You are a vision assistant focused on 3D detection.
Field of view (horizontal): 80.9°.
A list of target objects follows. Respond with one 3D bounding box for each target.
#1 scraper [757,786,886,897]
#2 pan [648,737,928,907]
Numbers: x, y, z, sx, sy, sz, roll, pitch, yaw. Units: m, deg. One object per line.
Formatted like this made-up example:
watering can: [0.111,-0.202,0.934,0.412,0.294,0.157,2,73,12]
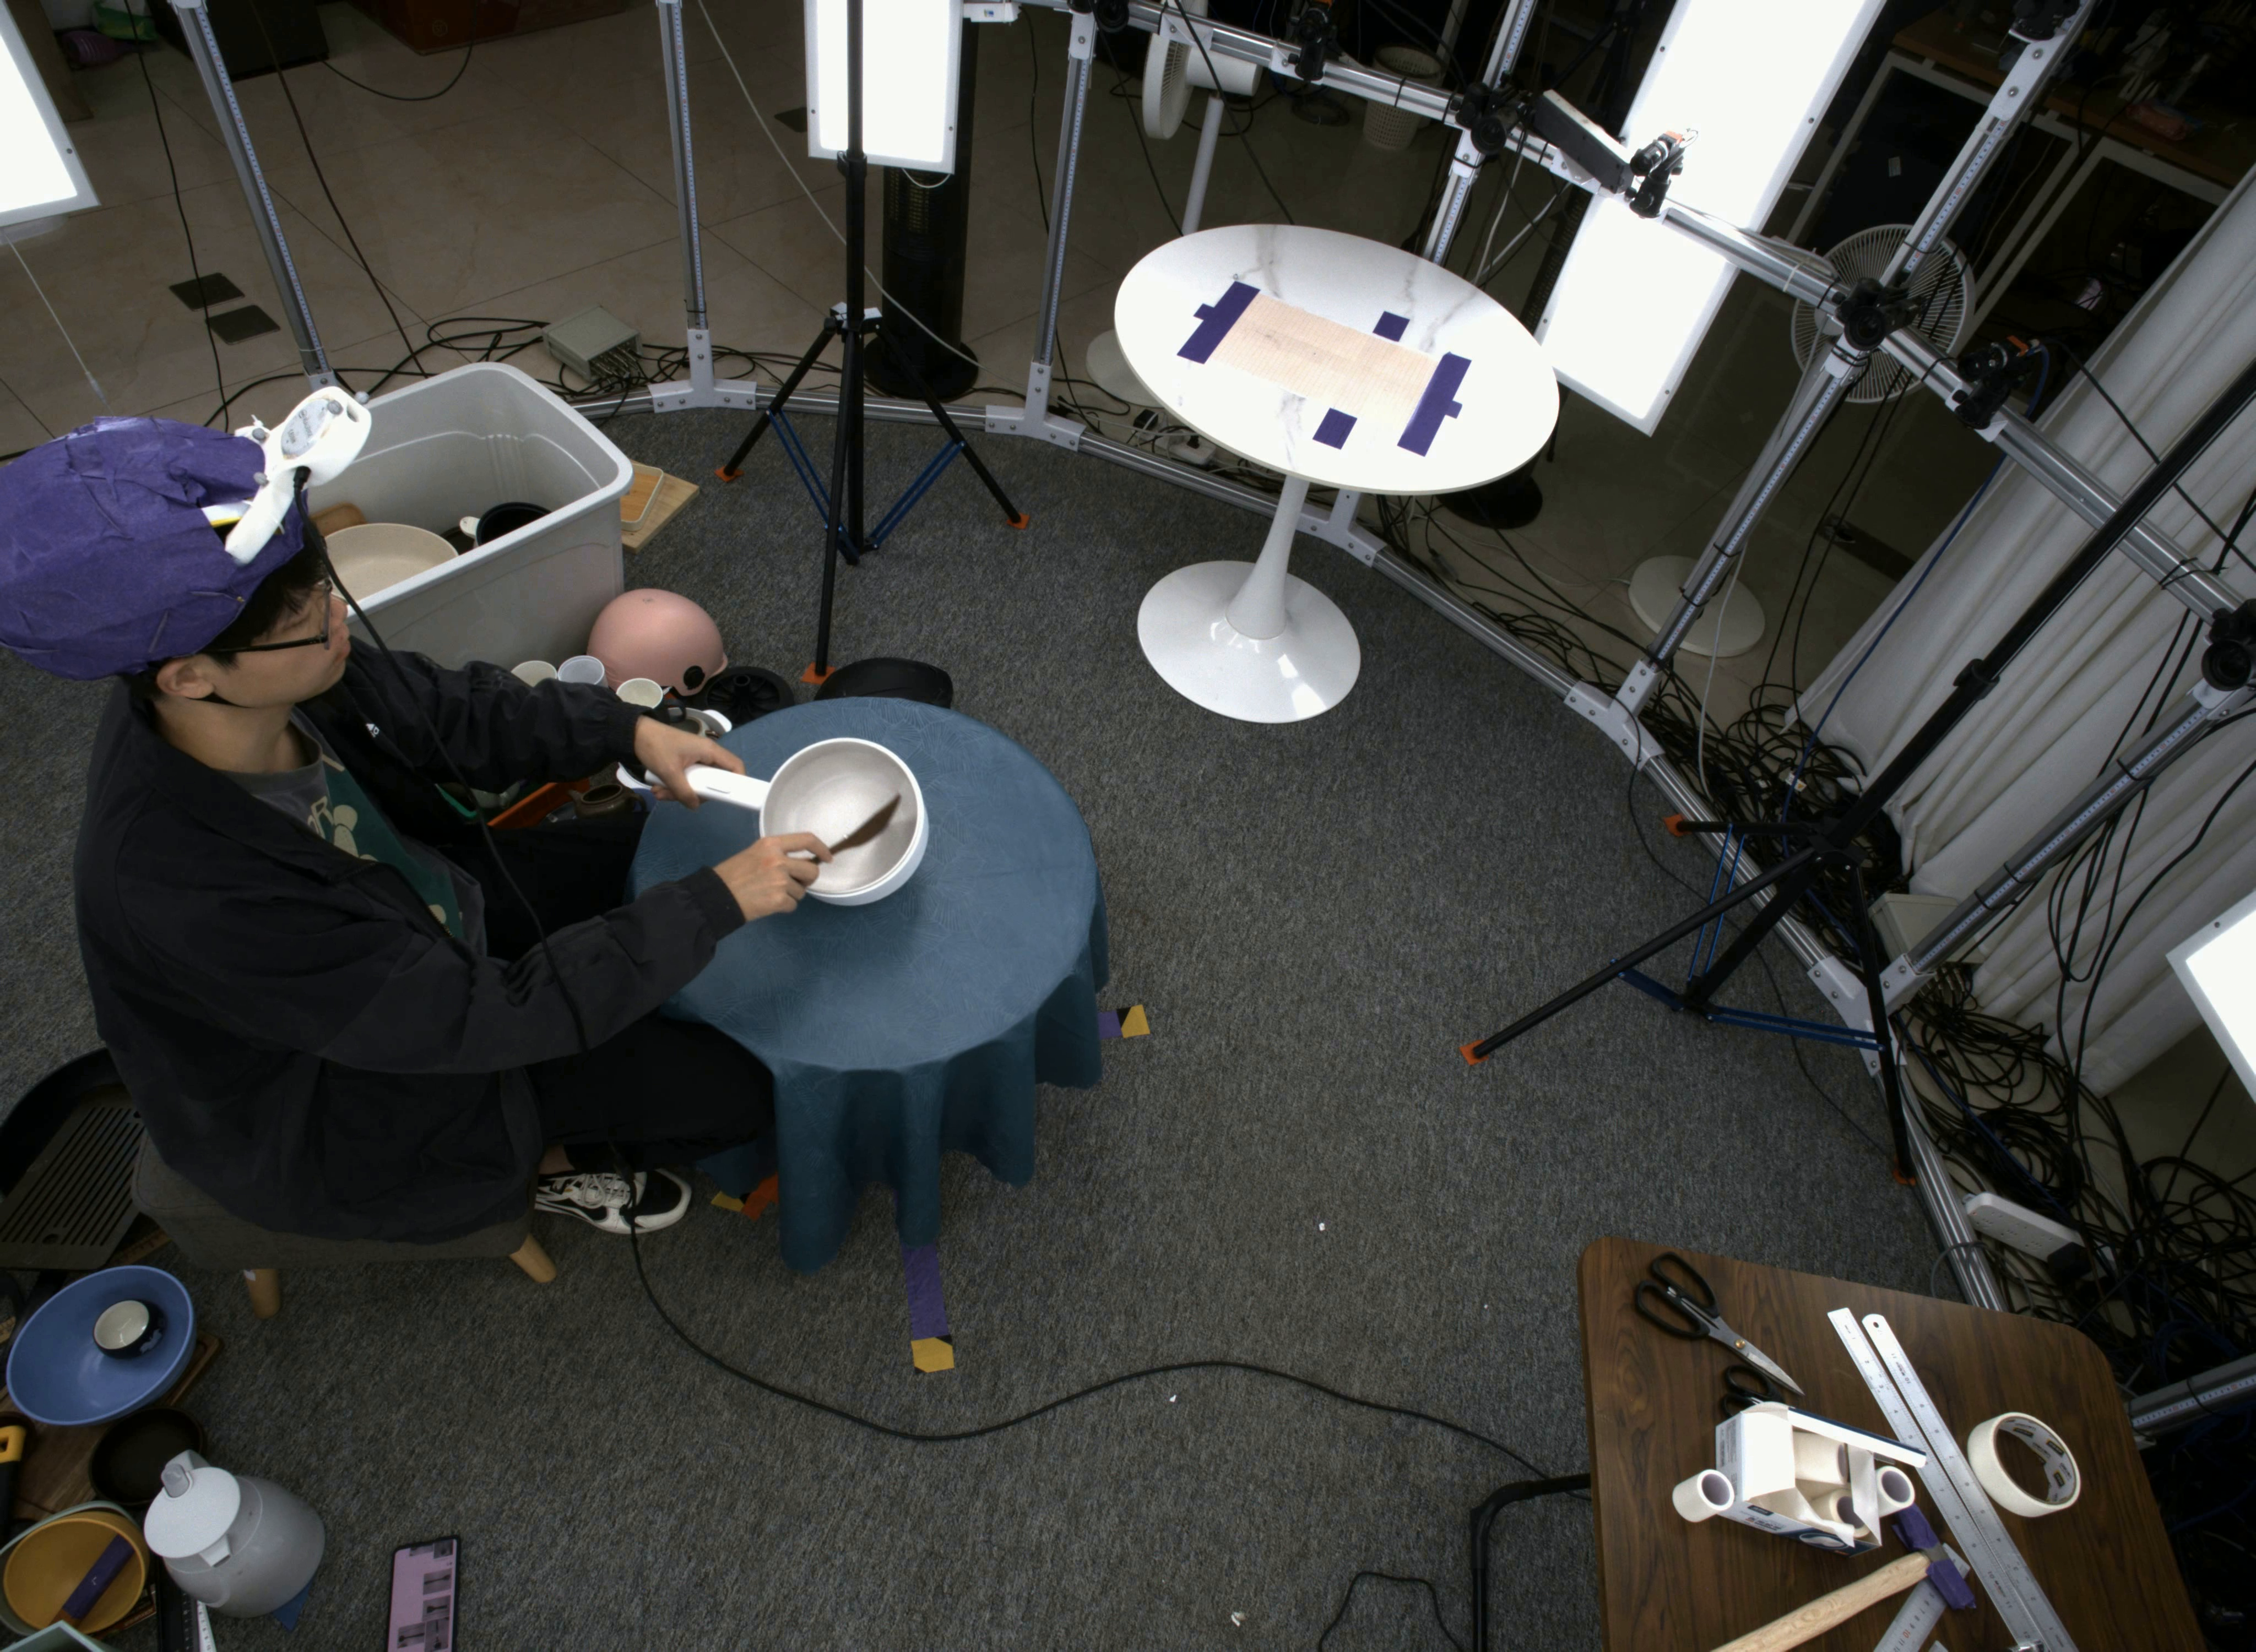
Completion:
scraper: [-0.362,0.020,1.536,0.011,0.076,0.211,45,47,2]
pan: [-0.423,-0.020,1.629,0.350,0.103,0.201,15,78,3]
